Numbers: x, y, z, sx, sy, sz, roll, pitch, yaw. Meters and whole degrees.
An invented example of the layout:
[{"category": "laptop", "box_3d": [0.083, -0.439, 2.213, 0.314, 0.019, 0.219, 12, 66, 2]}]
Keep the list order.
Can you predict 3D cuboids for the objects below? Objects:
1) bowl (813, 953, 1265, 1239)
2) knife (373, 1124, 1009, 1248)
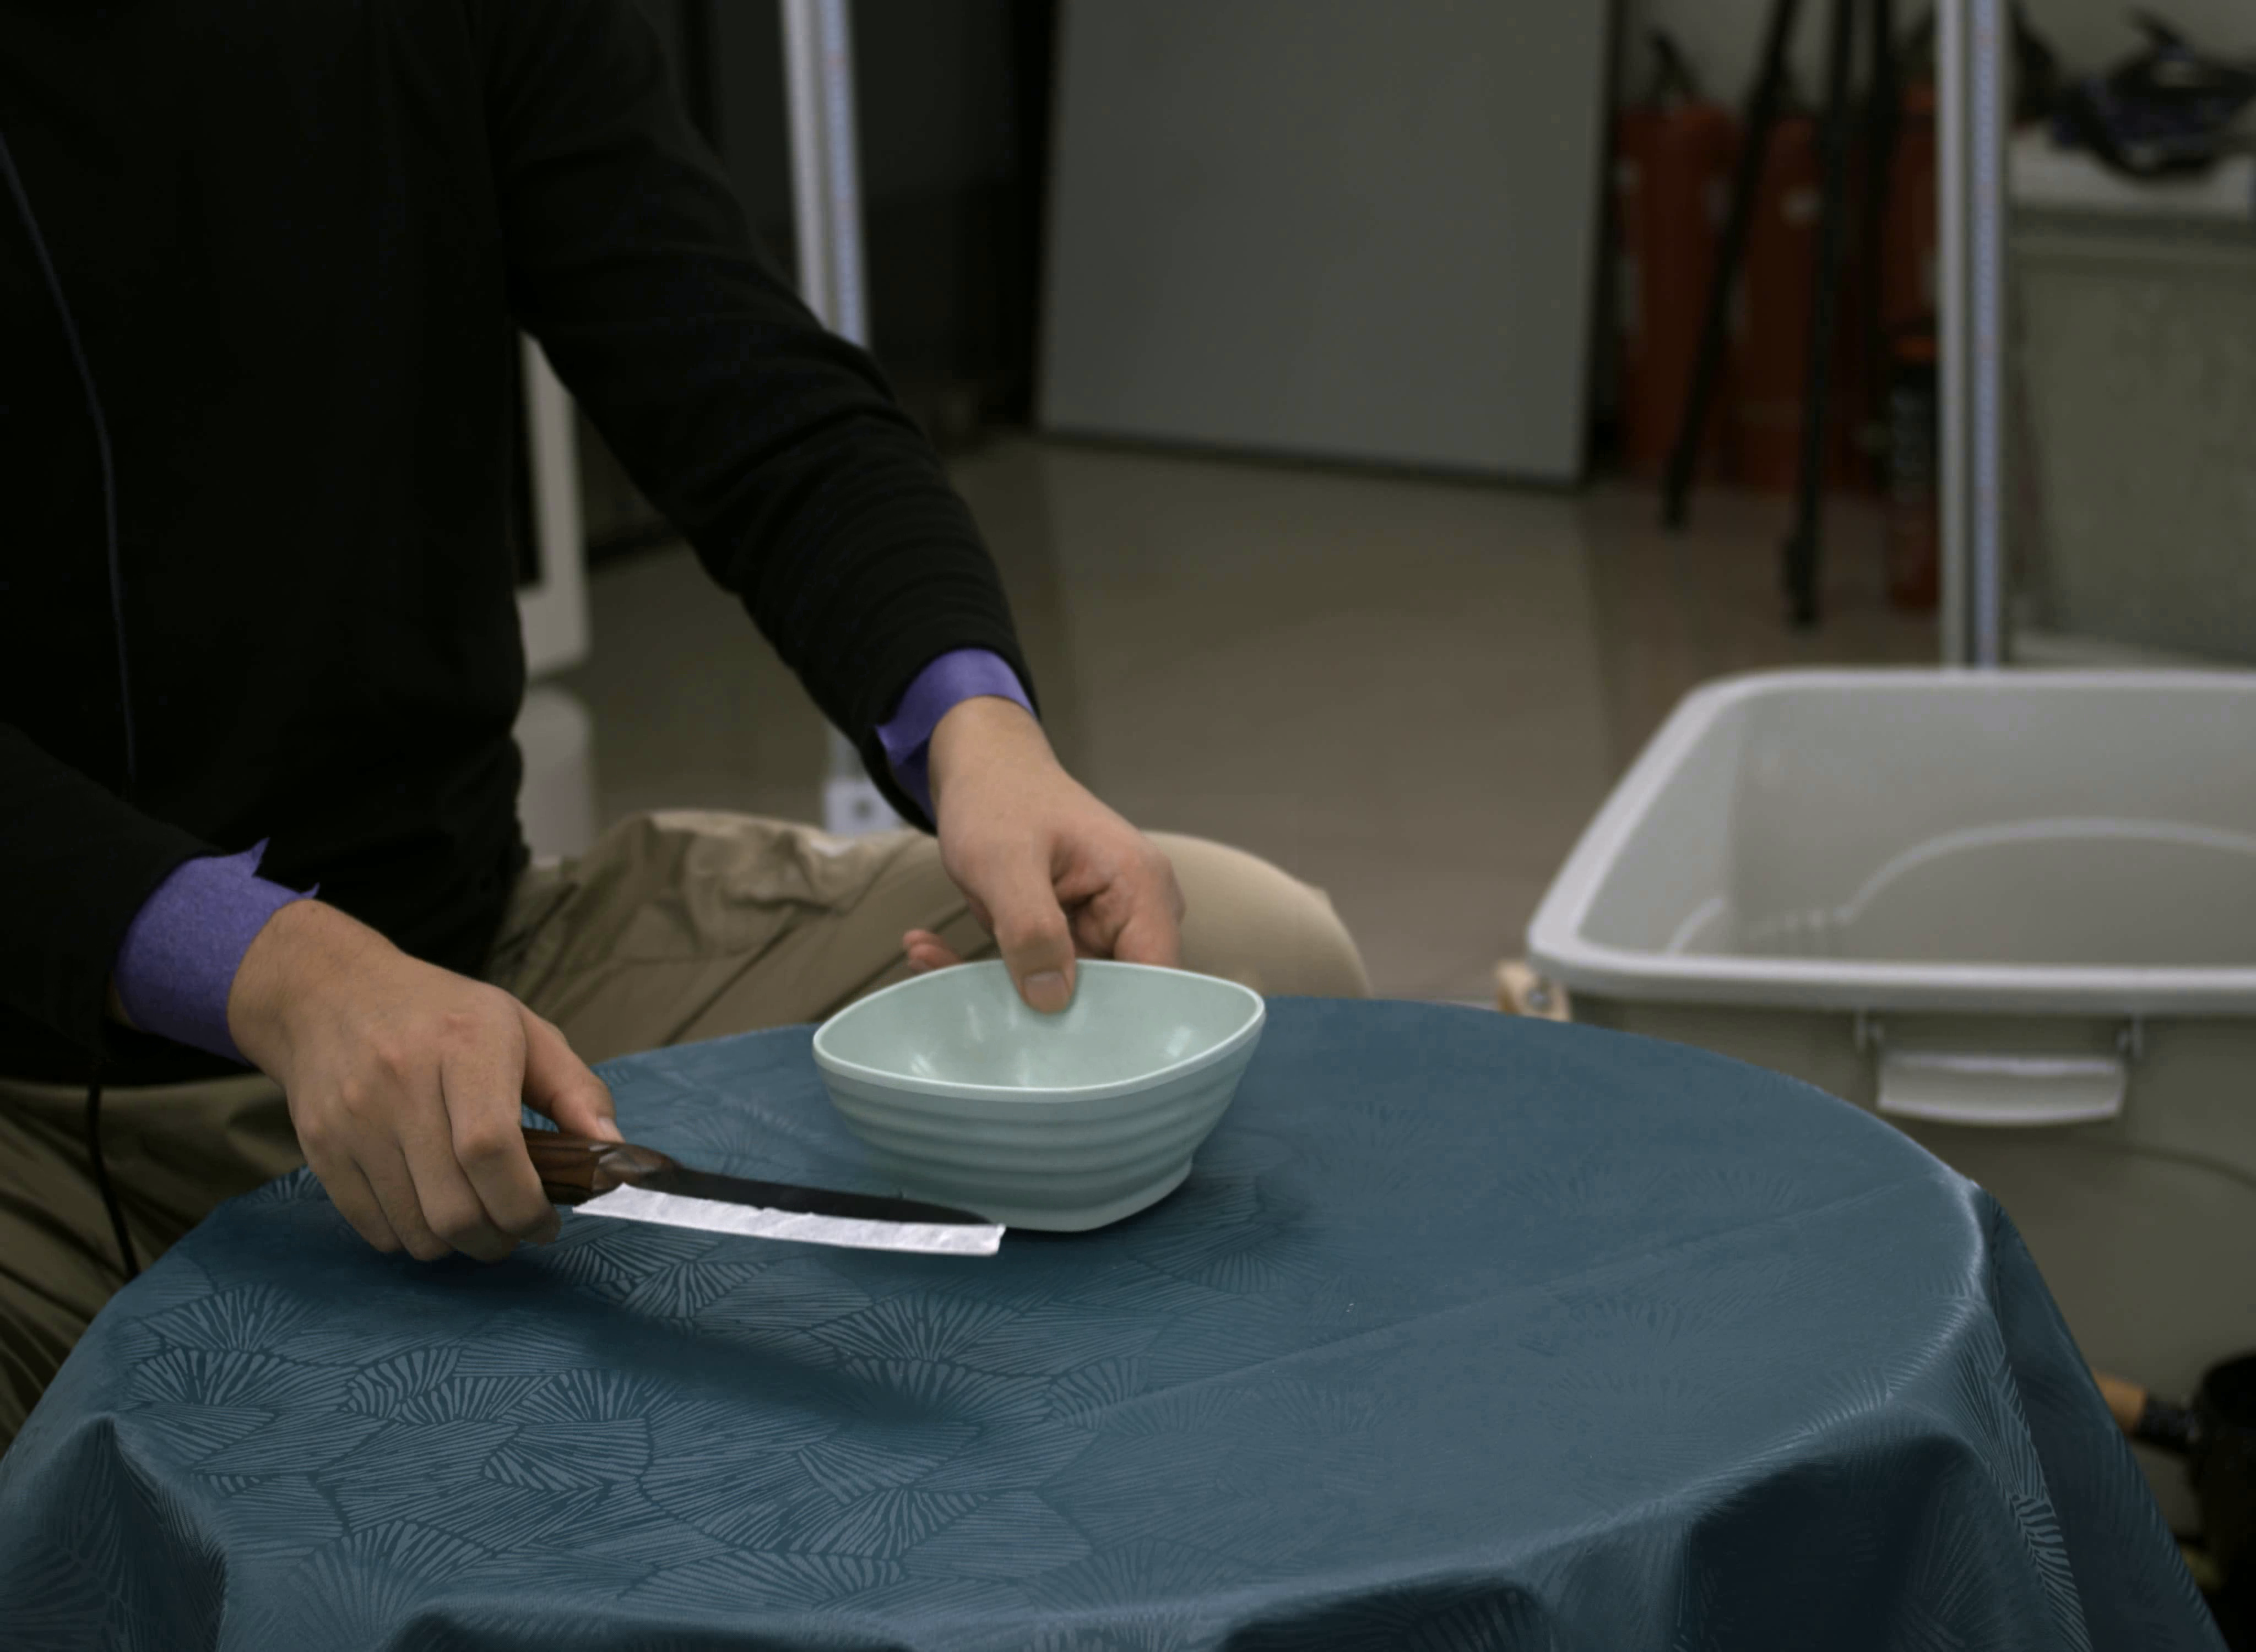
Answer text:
[{"category": "bowl", "box_3d": [-0.028, 0.091, 1.767, 0.149, 0.059, 0.152, -2, 16, 0]}, {"category": "knife", "box_3d": [-0.139, 0.113, 1.671, 0.292, 0.020, 0.049, 3, 19, 45]}]
